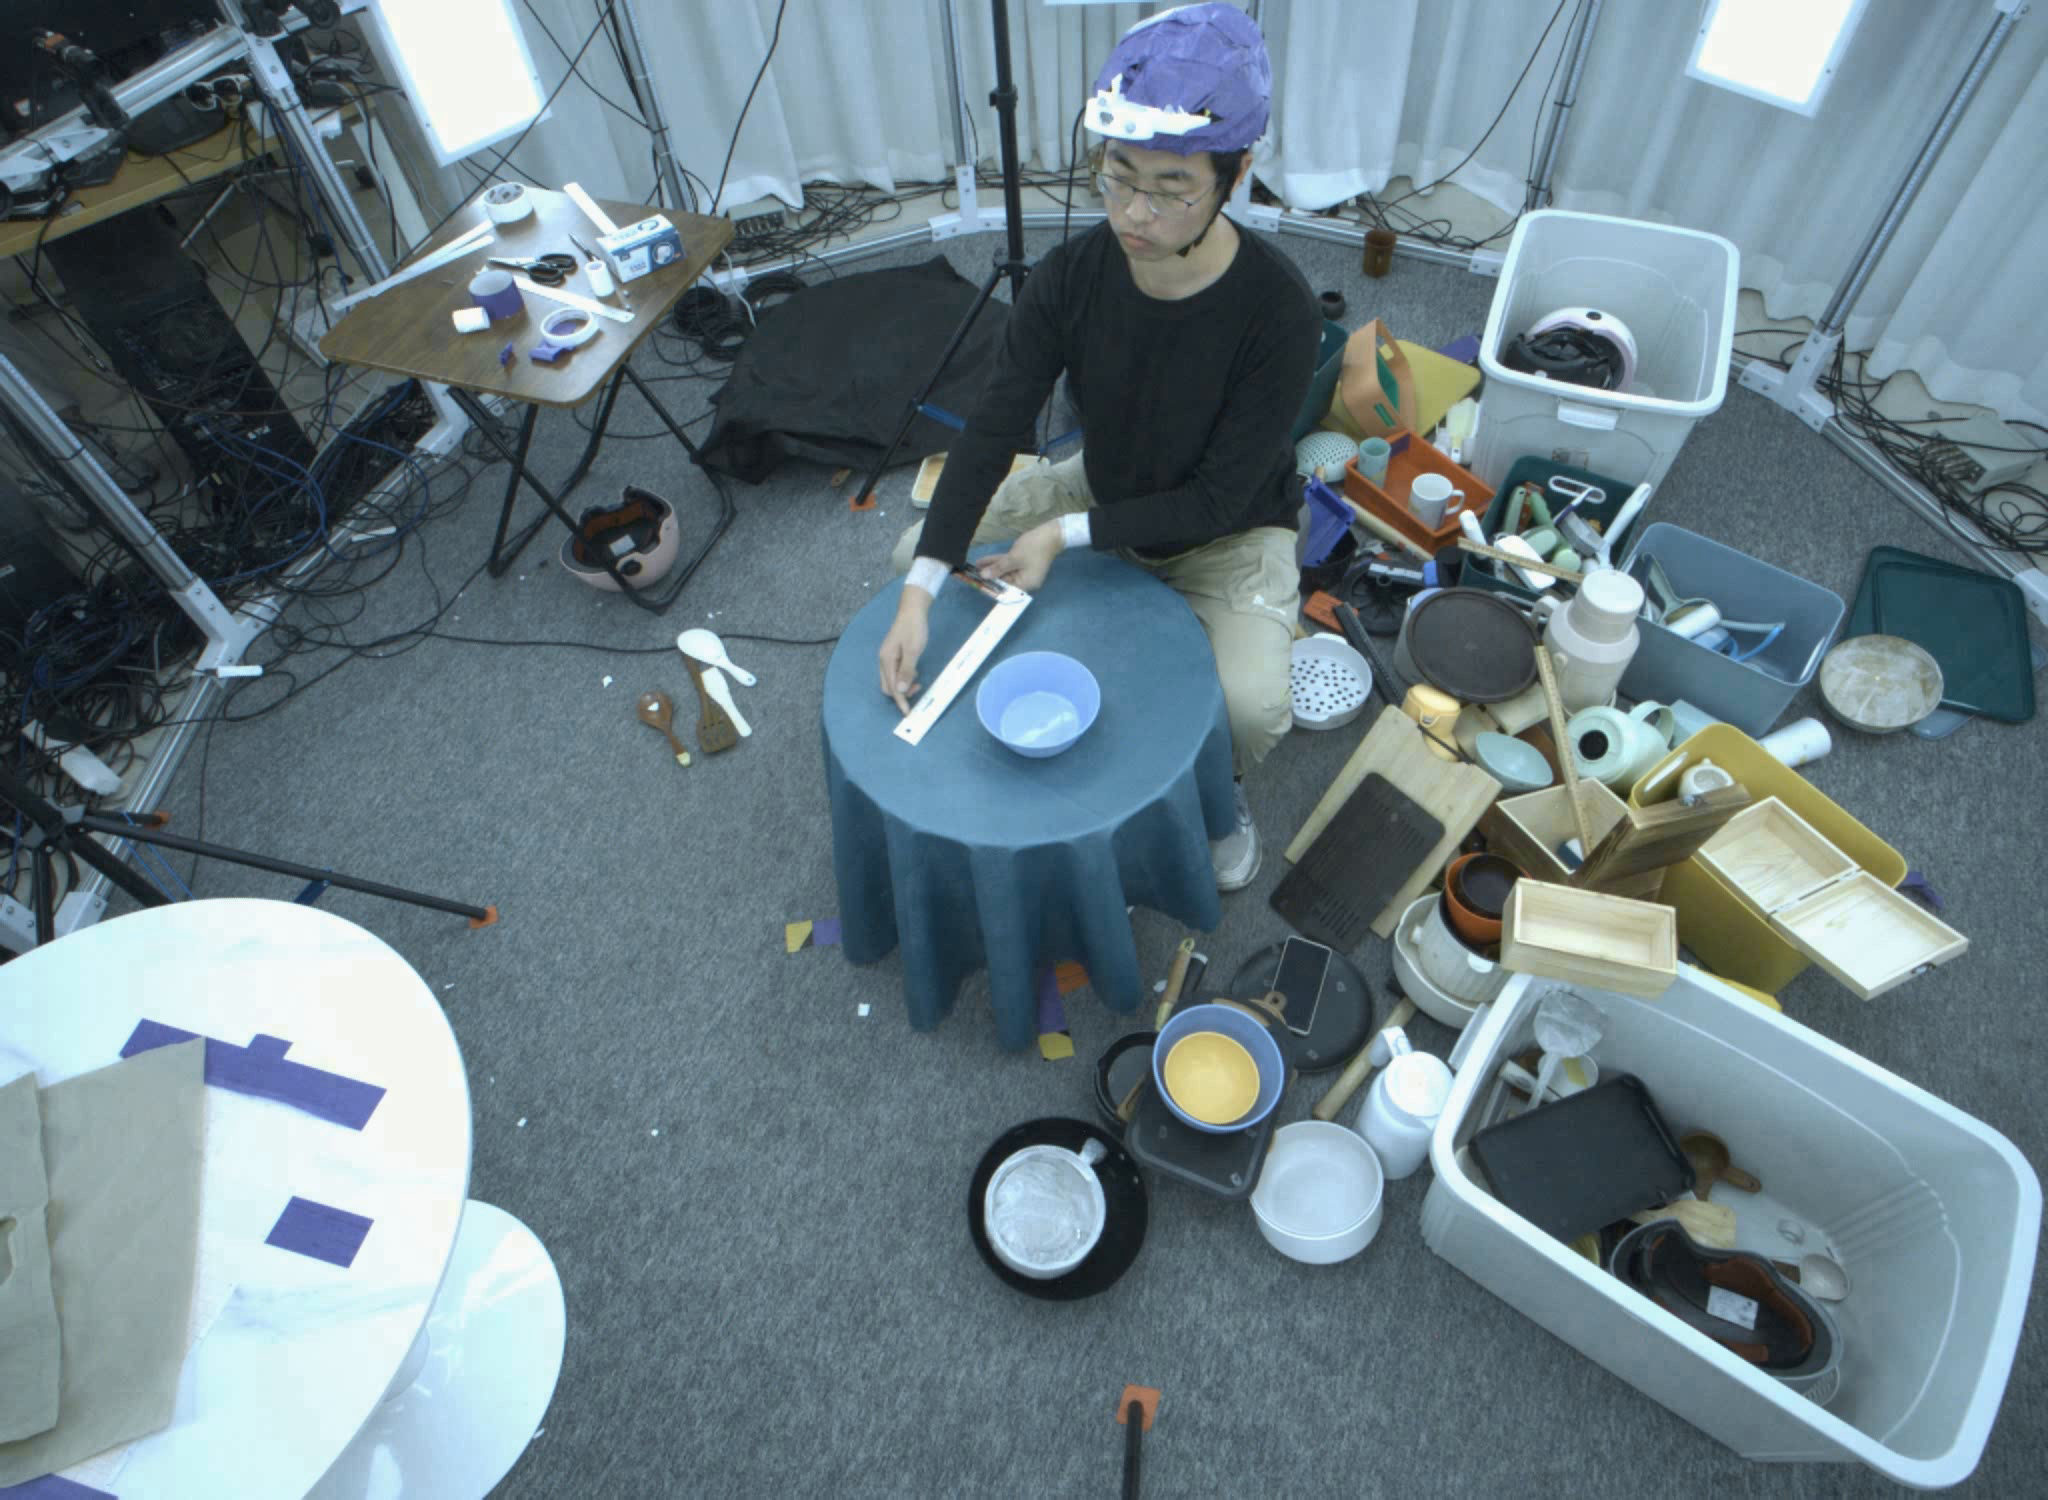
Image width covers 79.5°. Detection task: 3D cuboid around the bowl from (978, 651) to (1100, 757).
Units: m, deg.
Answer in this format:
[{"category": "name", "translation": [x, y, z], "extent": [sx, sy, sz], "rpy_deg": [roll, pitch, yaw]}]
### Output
[{"category": "bowl", "translation": [0.023, -0.056, 1.784], "extent": [0.176, 0.071, 0.174], "rpy_deg": [-1, 55, 2]}]

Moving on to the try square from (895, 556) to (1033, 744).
[{"category": "try square", "translation": [-0.133, -0.158, 1.875], "extent": [0.150, 0.016, 0.314], "rpy_deg": [30, 67, 18]}]
